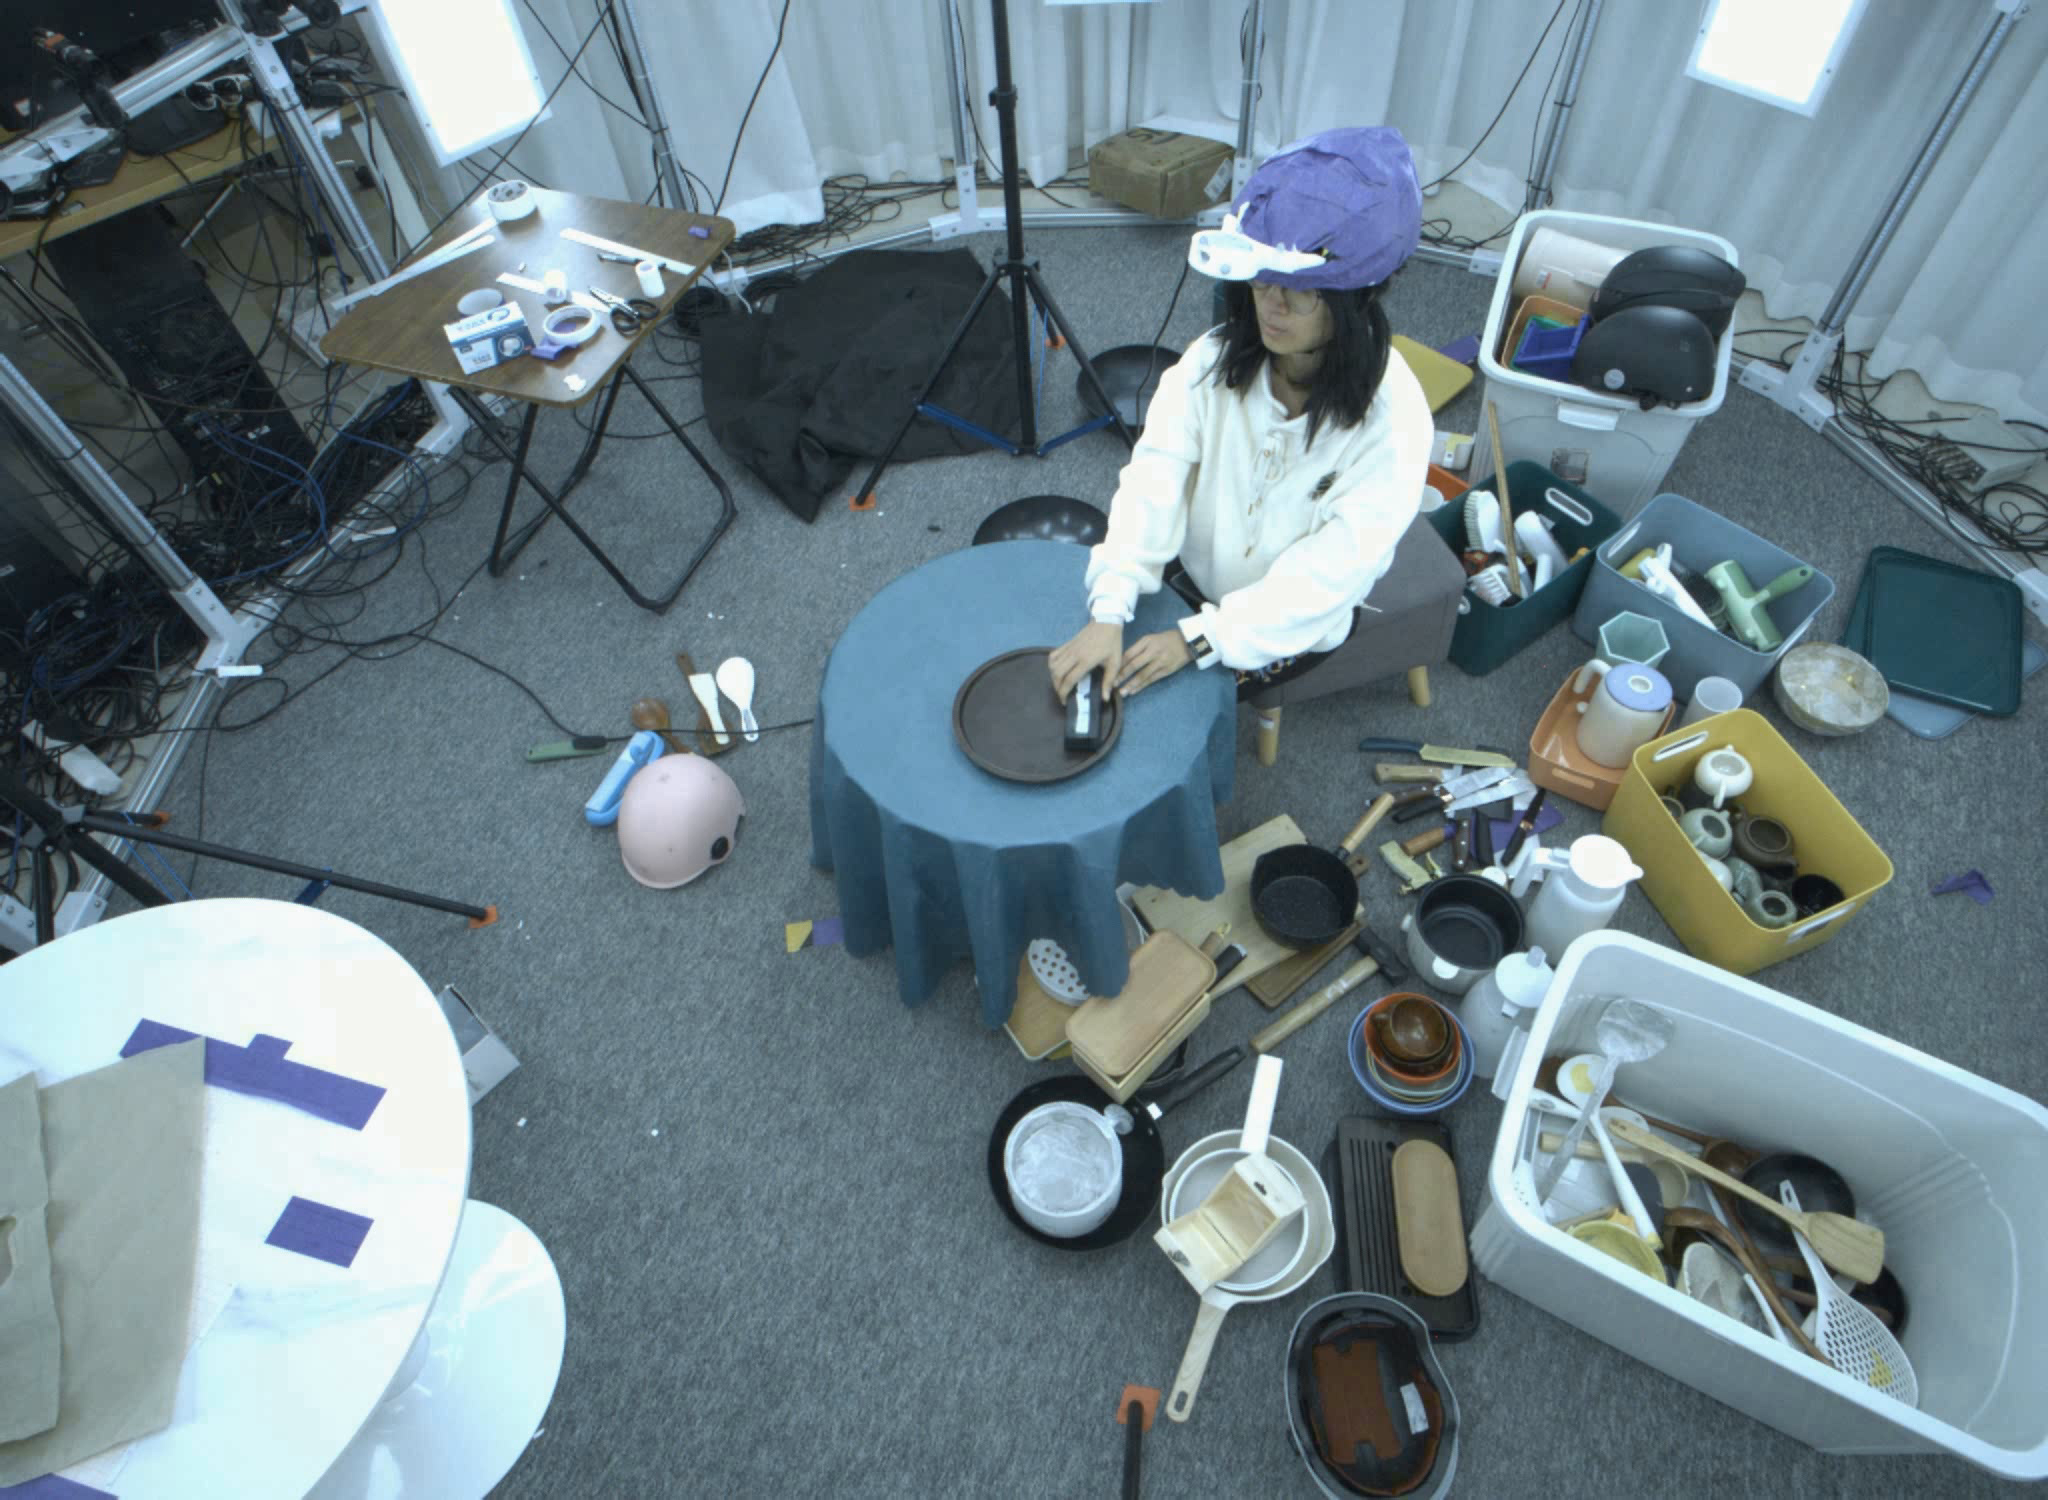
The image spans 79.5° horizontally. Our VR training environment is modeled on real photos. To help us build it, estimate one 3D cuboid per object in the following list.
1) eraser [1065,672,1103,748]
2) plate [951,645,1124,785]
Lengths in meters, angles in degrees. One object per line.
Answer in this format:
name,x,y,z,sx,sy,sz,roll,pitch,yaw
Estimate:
eraser,0.088,-0.059,1.794,0.053,0.031,0.124,1,54,2
plate,0.020,-0.052,1.810,0.254,0.029,0.252,-1,56,3
